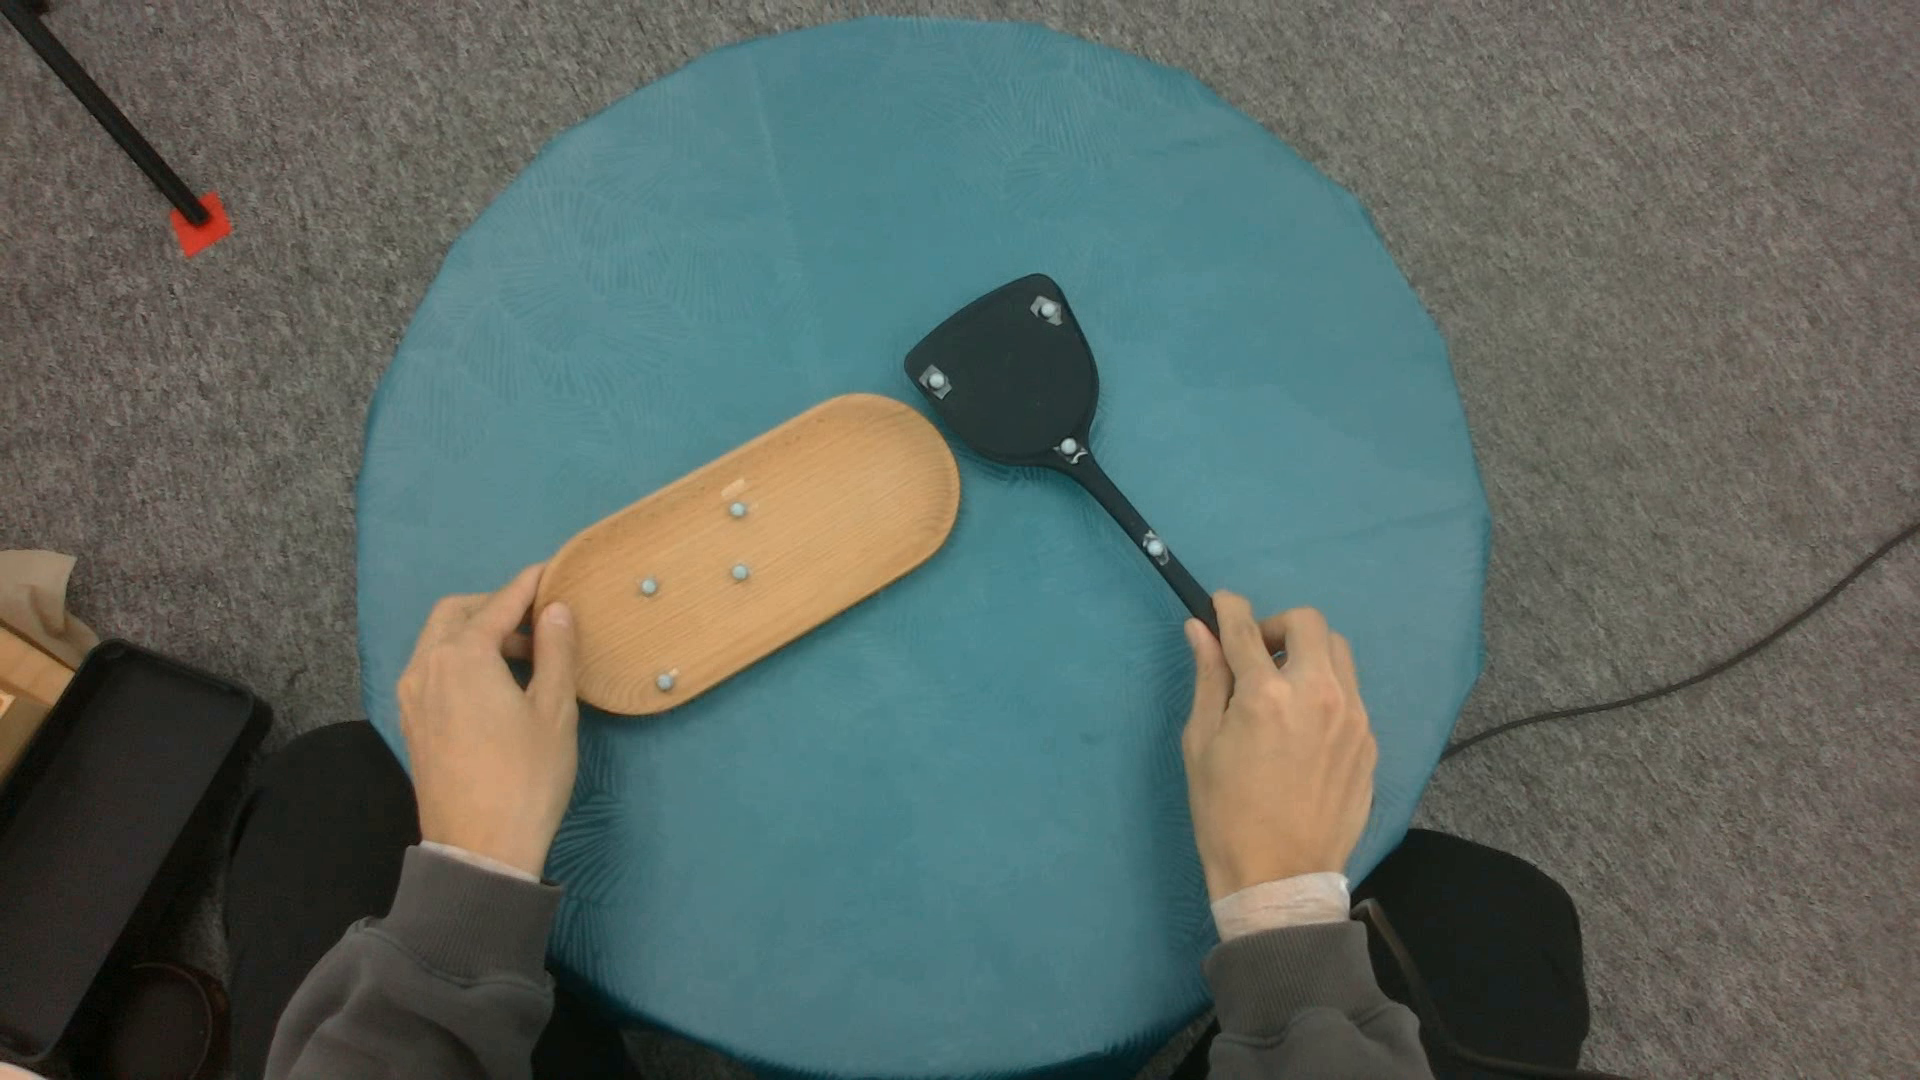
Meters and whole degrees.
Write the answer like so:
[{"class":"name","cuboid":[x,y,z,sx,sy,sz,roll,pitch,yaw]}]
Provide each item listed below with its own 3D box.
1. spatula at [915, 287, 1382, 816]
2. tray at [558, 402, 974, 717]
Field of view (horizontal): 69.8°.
[{"class":"spatula","cuboid":[0.105,0.007,0.706,0.100,0.040,0.326,-35,69,-11]},{"class":"tray","cuboid":[-0.098,0.009,0.722,0.232,0.020,0.102,-30,82,-14]}]
